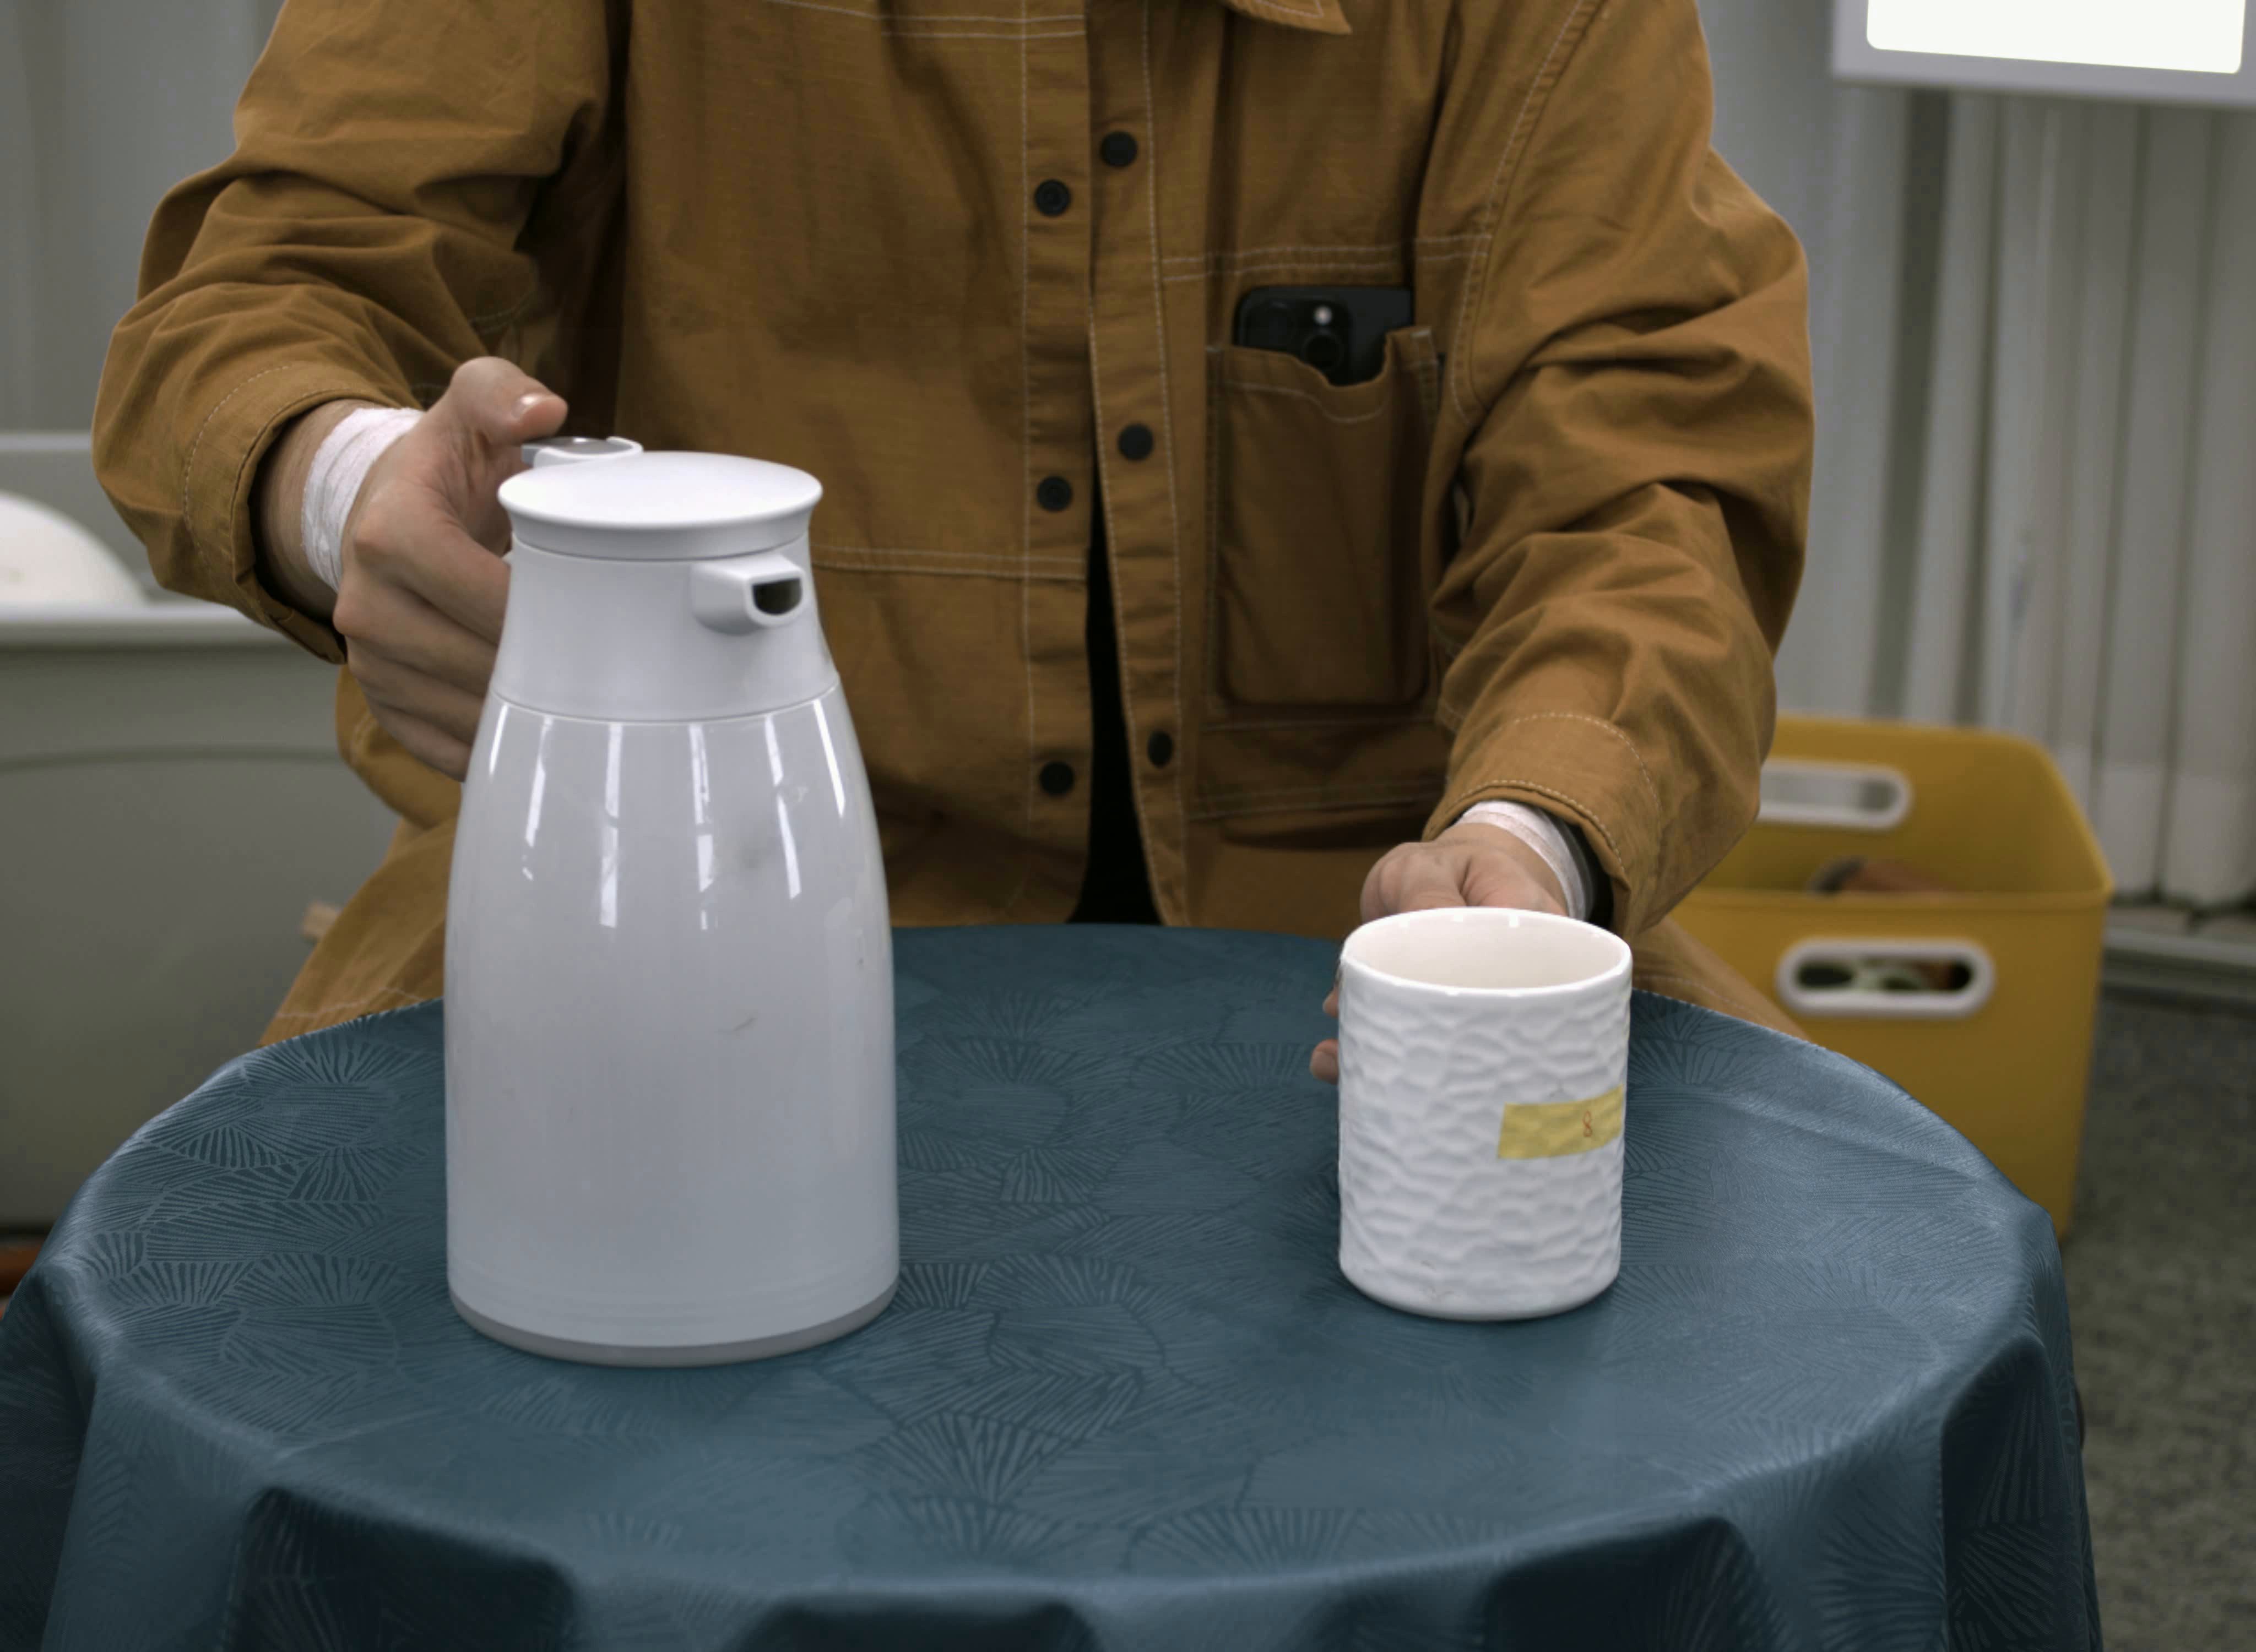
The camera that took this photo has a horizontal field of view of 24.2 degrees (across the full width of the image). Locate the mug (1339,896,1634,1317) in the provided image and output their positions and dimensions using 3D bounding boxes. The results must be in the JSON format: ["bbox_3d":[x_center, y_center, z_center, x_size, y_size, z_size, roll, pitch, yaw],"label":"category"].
[{"bbox_3d":[0.099,0.077,1.551,0.085,0.103,0.117,-5,18,-16],"label":"mug"}]

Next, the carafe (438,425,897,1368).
[{"bbox_3d":[-0.145,0.012,1.515,0.133,0.250,0.165,-13,20,-36],"label":"carafe"}]
